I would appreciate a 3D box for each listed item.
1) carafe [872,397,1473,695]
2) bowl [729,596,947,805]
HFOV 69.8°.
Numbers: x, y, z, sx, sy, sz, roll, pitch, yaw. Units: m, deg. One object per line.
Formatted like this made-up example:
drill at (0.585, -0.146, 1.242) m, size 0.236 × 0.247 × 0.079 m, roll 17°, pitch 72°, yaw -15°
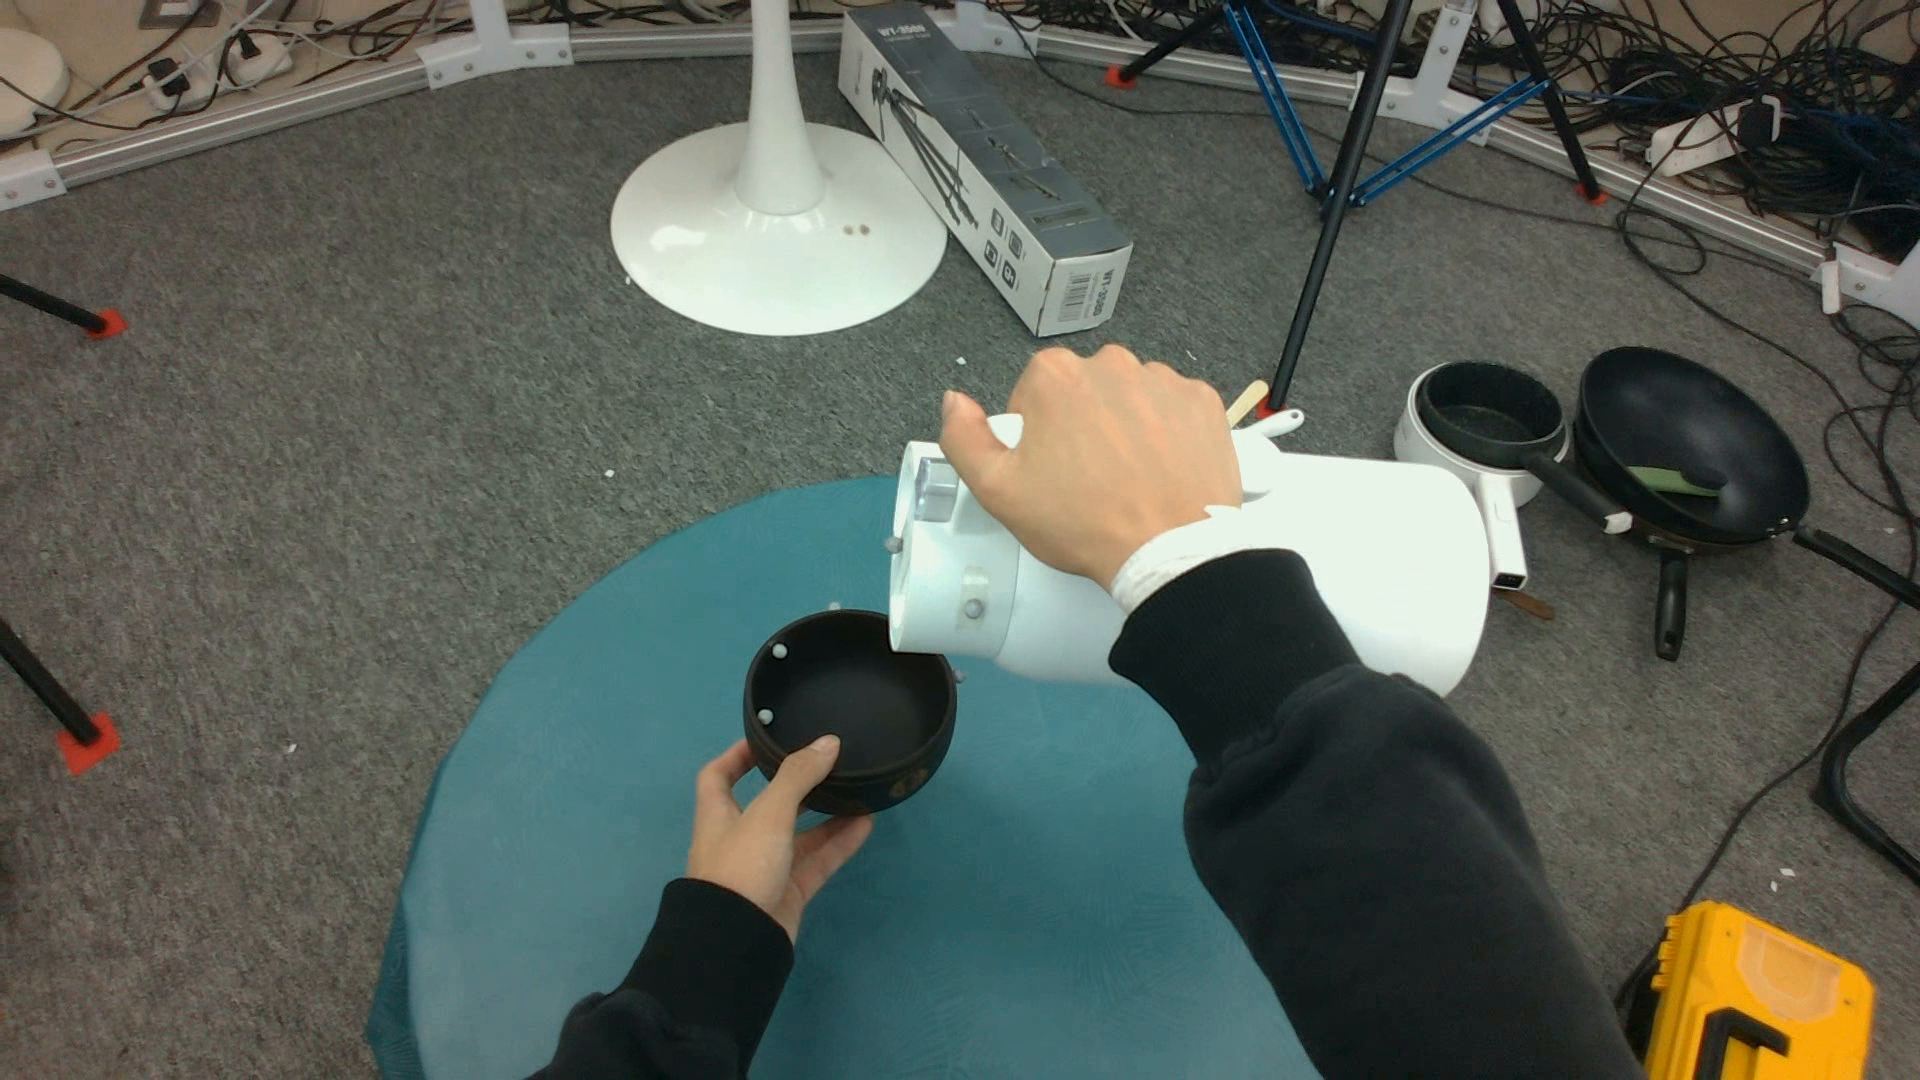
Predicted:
carafe at (0.101, -0.001, 0.645) m, size 0.269 × 0.172 × 0.124 m, roll 7°, pitch 60°, yaw -9°
bowl at (-0.069, 0.096, 0.765) m, size 0.118 × 0.069 × 0.118 m, roll 5°, pitch 47°, yaw -5°
